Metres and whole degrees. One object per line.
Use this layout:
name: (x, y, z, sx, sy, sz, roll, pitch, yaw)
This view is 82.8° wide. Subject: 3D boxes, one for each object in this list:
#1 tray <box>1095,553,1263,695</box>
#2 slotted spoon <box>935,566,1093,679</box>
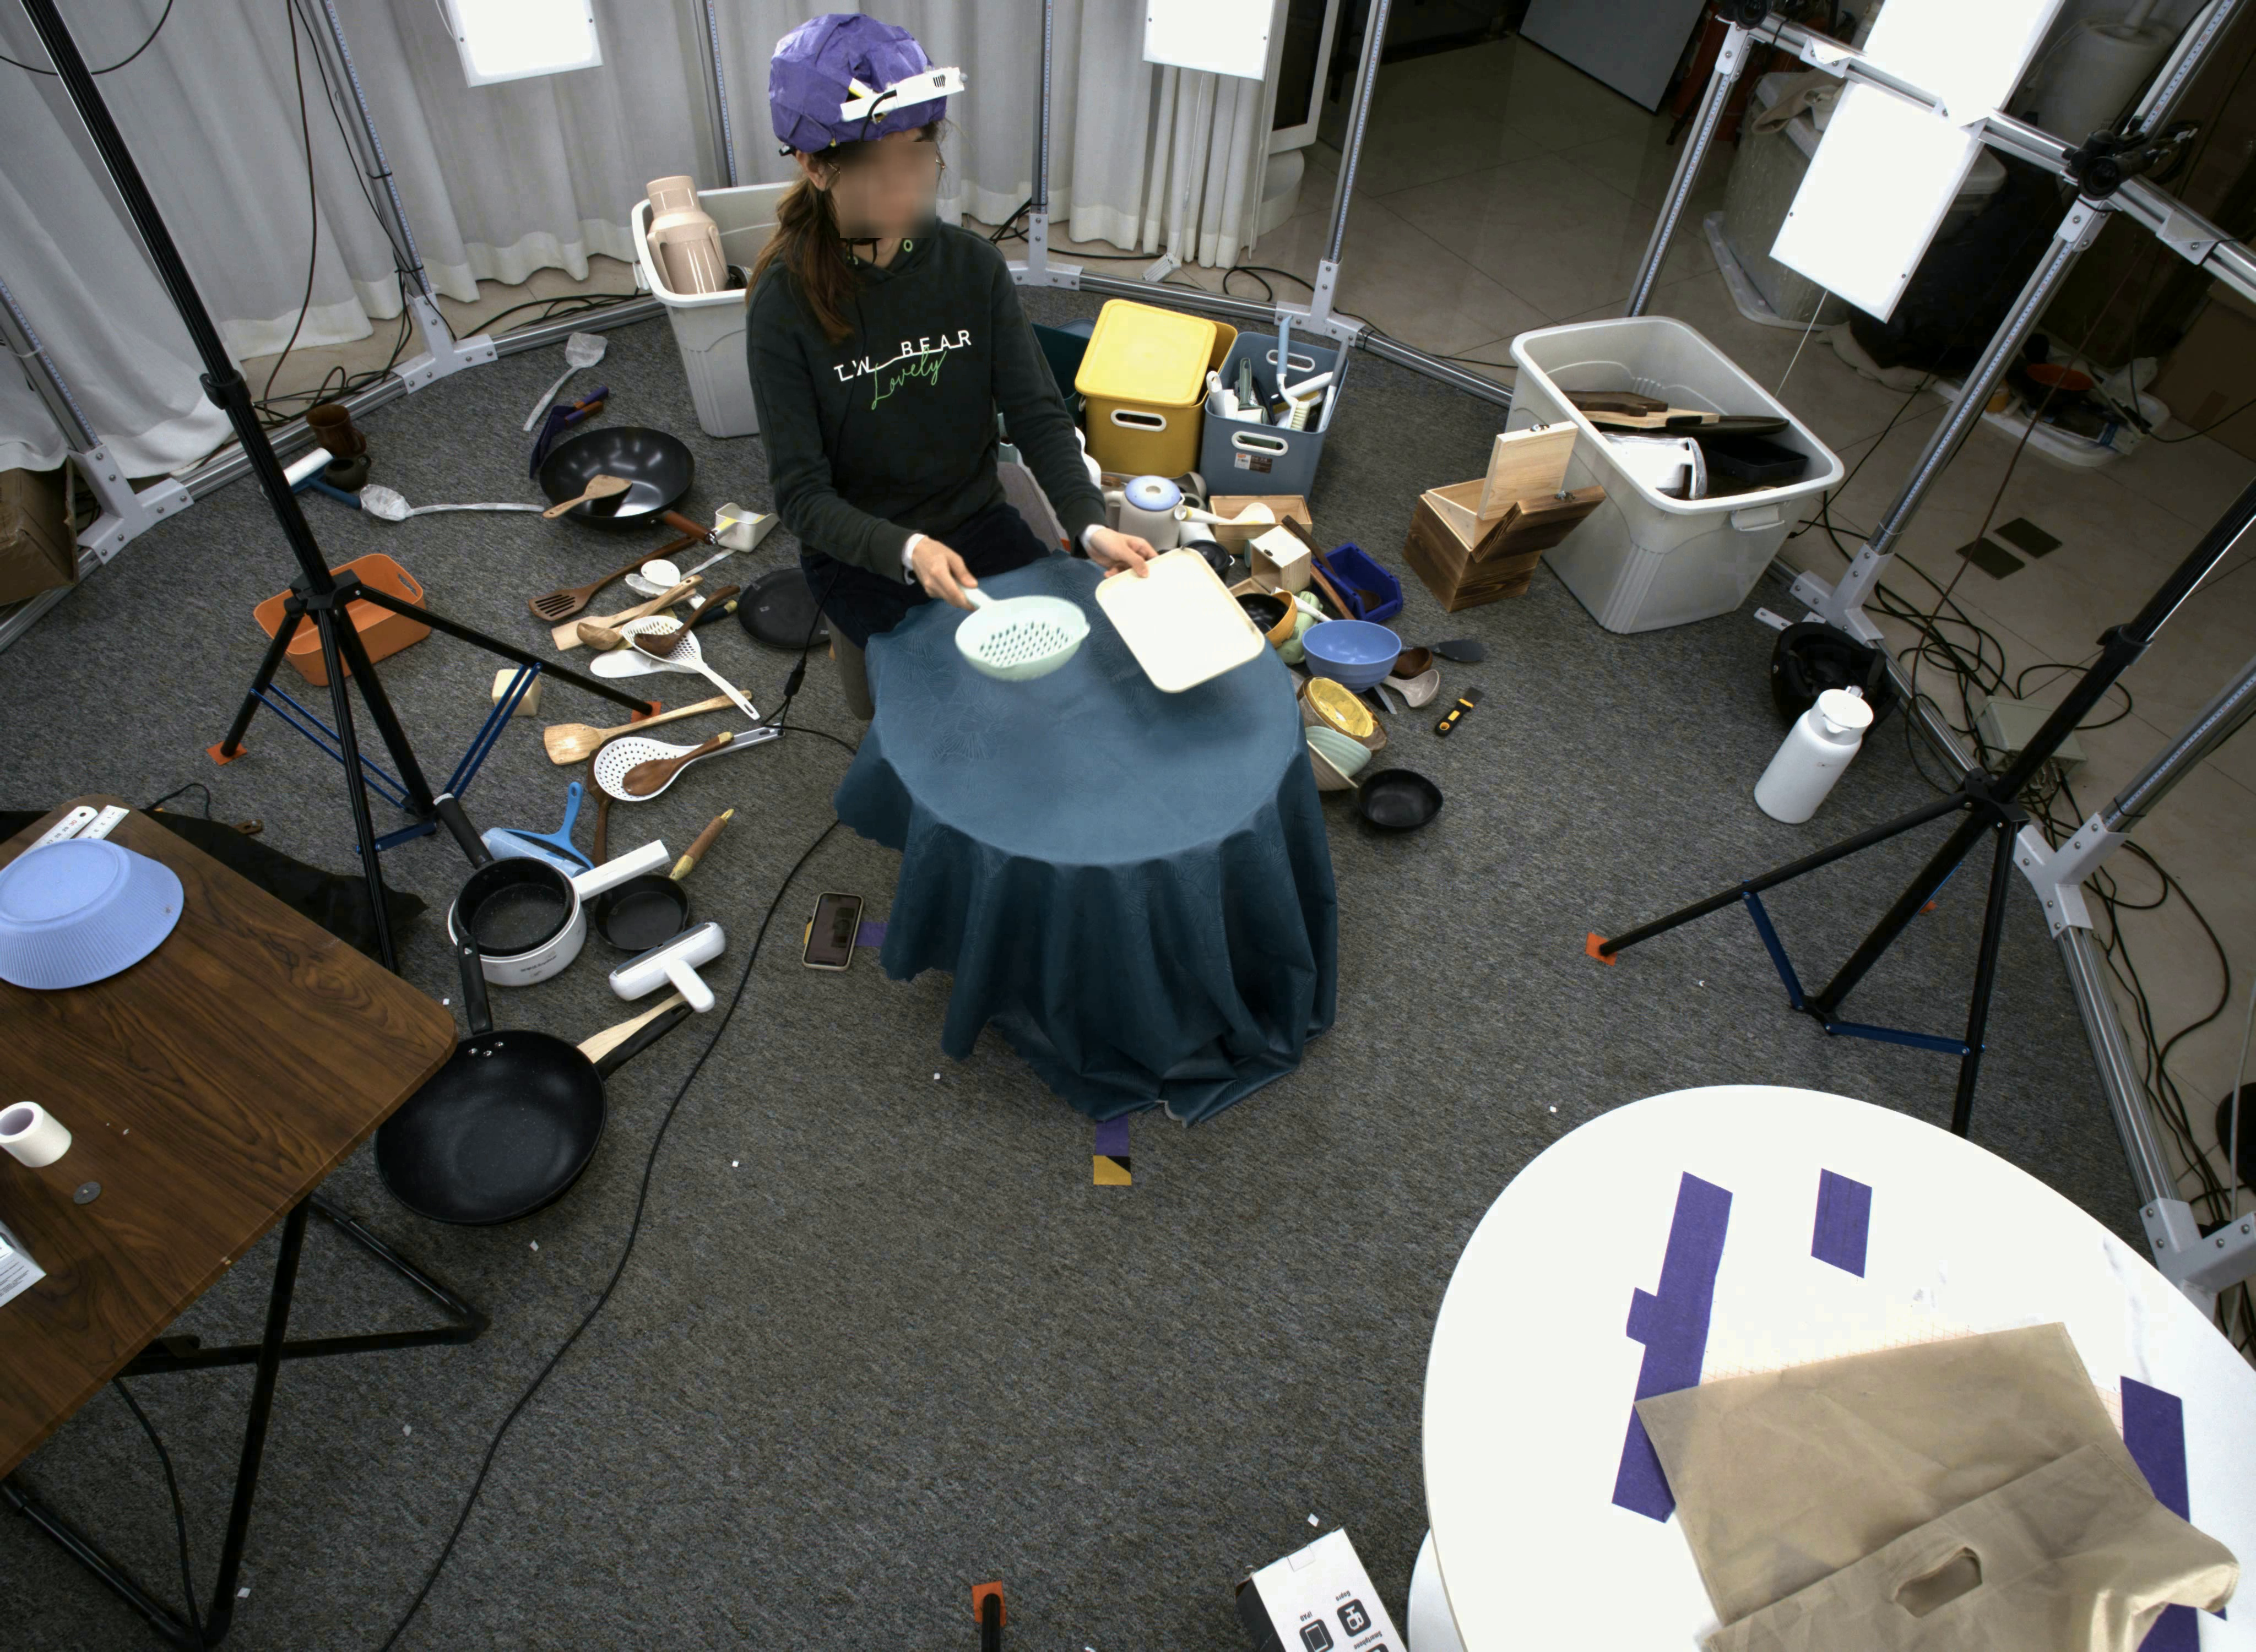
tray: (0.070, -0.289, 1.828, 0.171, 0.017, 0.245, -25, 54, -10)
slotted spoon: (-0.185, -0.295, 1.756, 0.170, 0.073, 0.366, -24, 46, -21)
